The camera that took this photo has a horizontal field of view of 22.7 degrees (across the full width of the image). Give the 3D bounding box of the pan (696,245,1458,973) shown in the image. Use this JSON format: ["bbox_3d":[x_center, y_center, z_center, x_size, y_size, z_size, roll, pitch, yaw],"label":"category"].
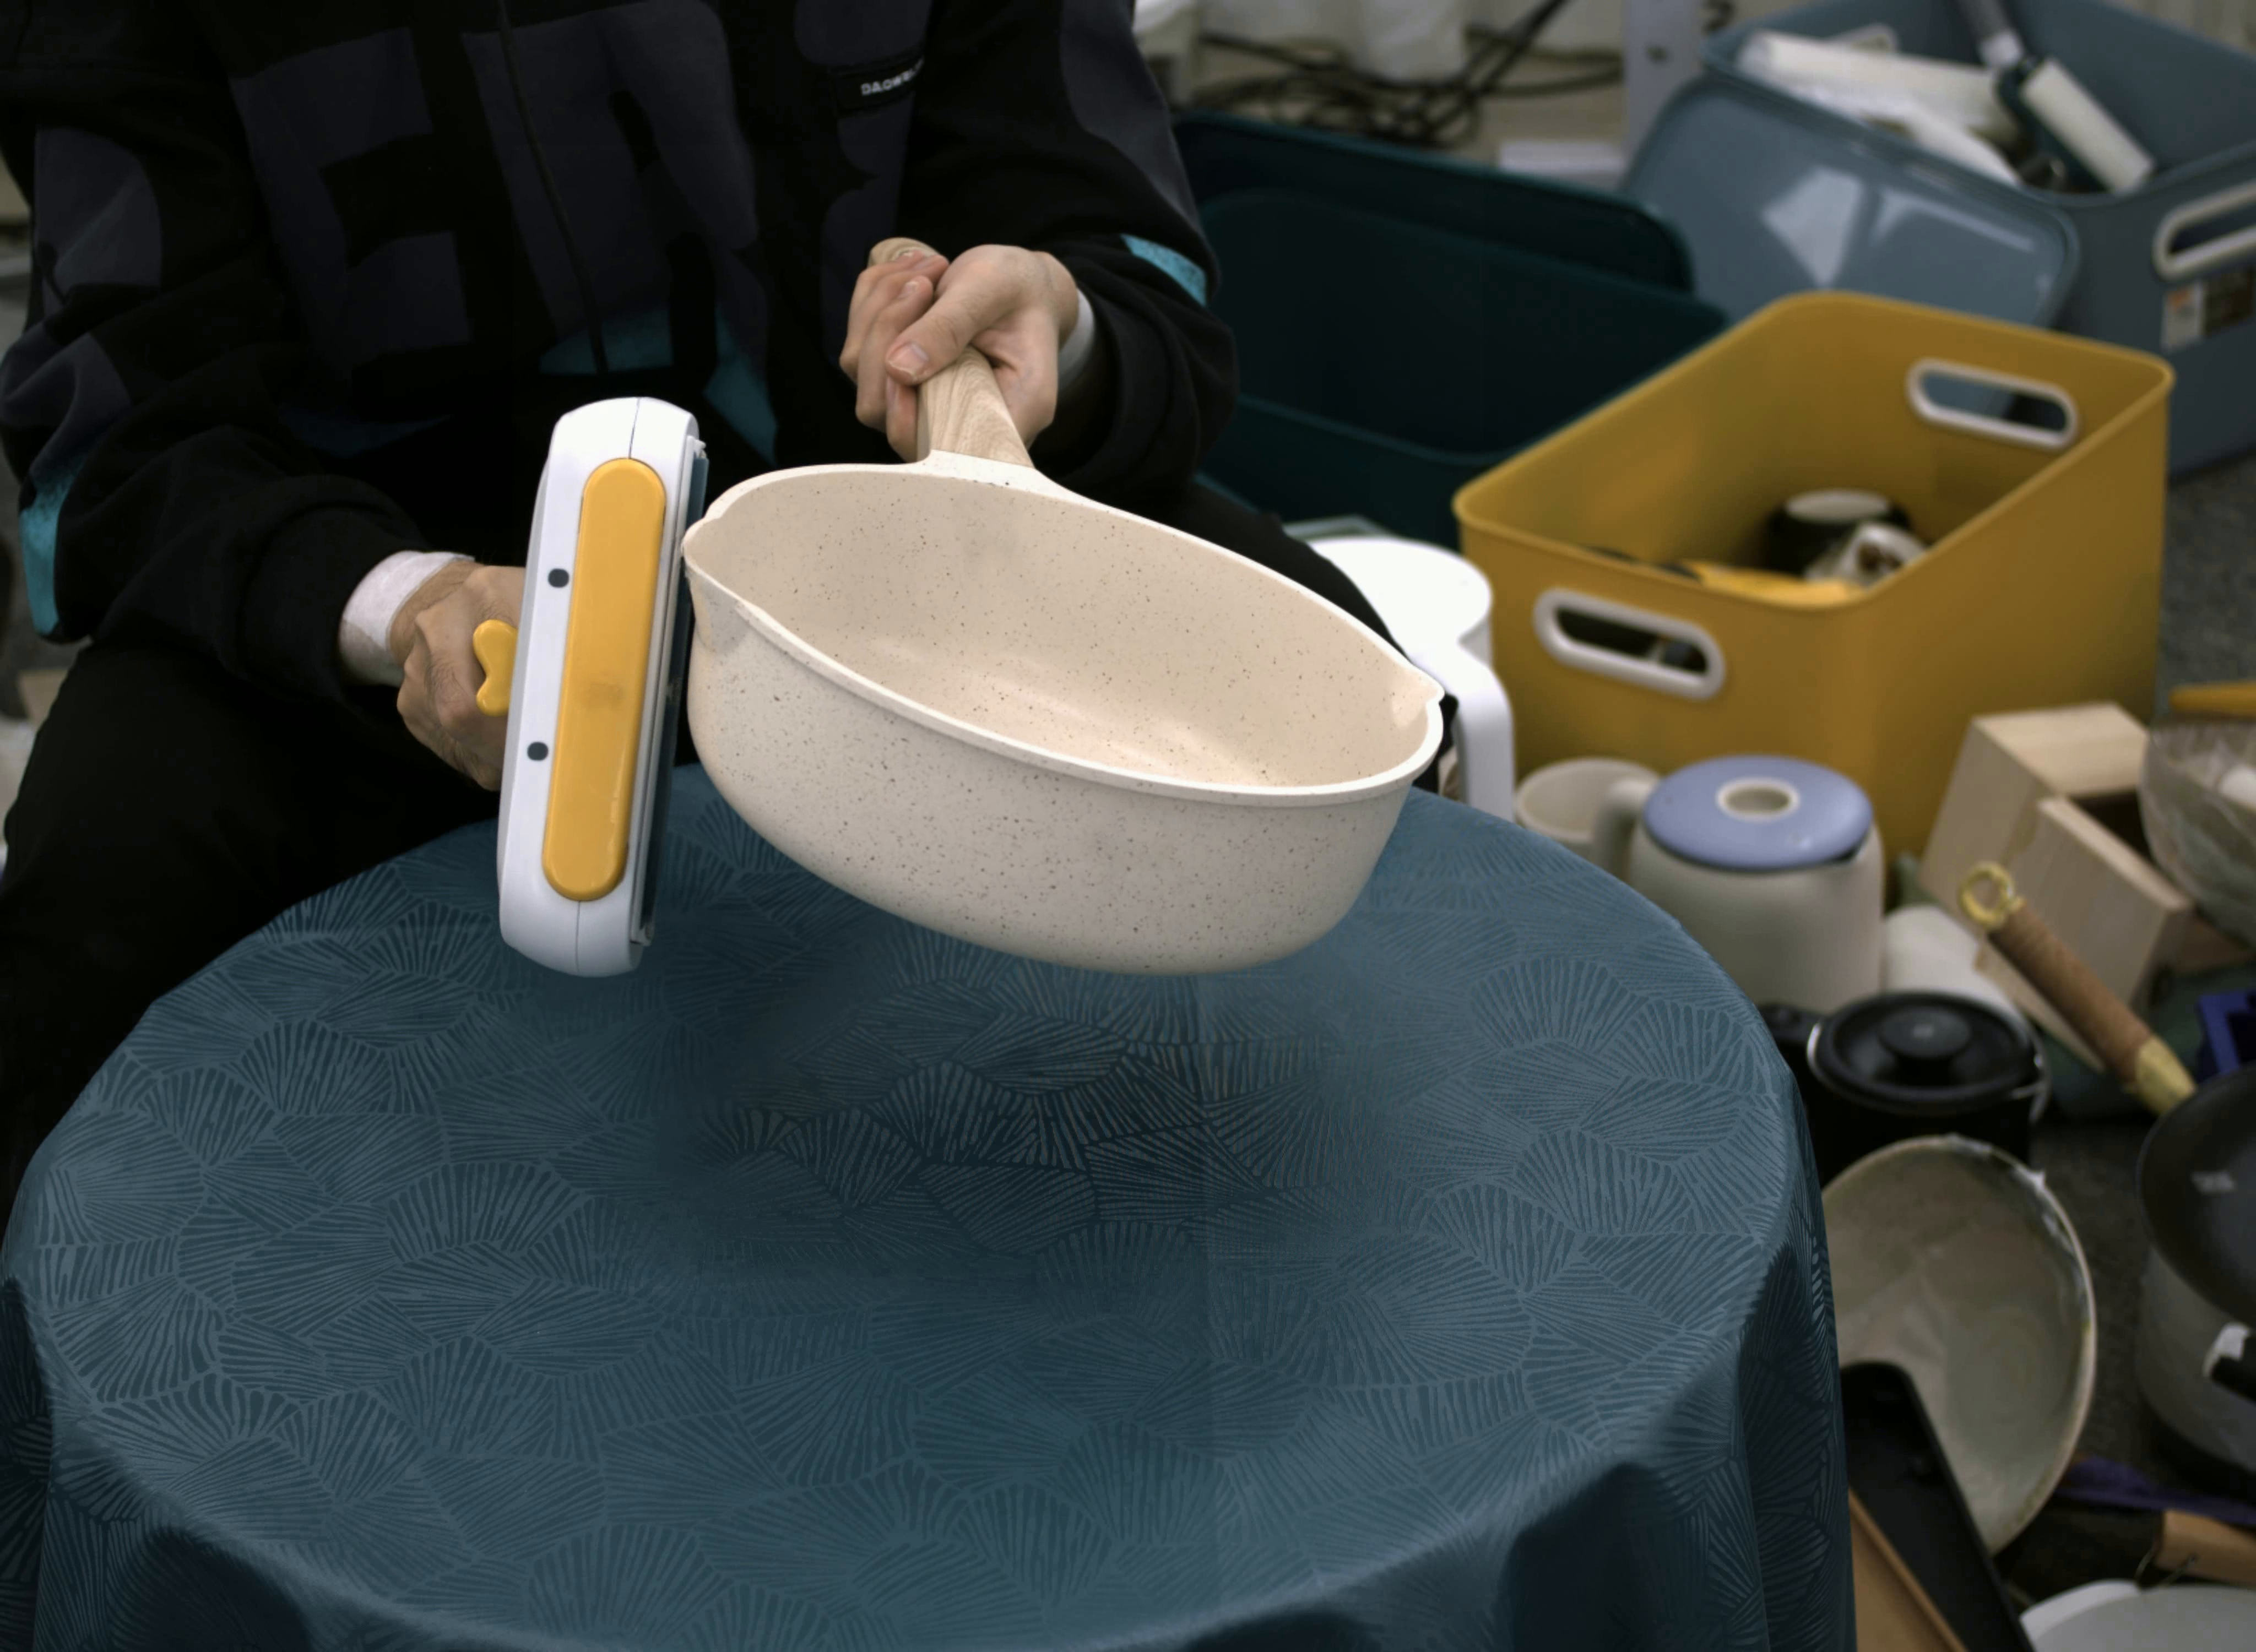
[{"bbox_3d":[-0.043,-0.077,1.924,0.263,0.101,0.439,8,23,-19],"label":"pan"}]

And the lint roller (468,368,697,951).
[{"bbox_3d":[-0.190,-0.049,1.918,0.074,0.194,0.191,2,-8,-8],"label":"lint roller"}]
